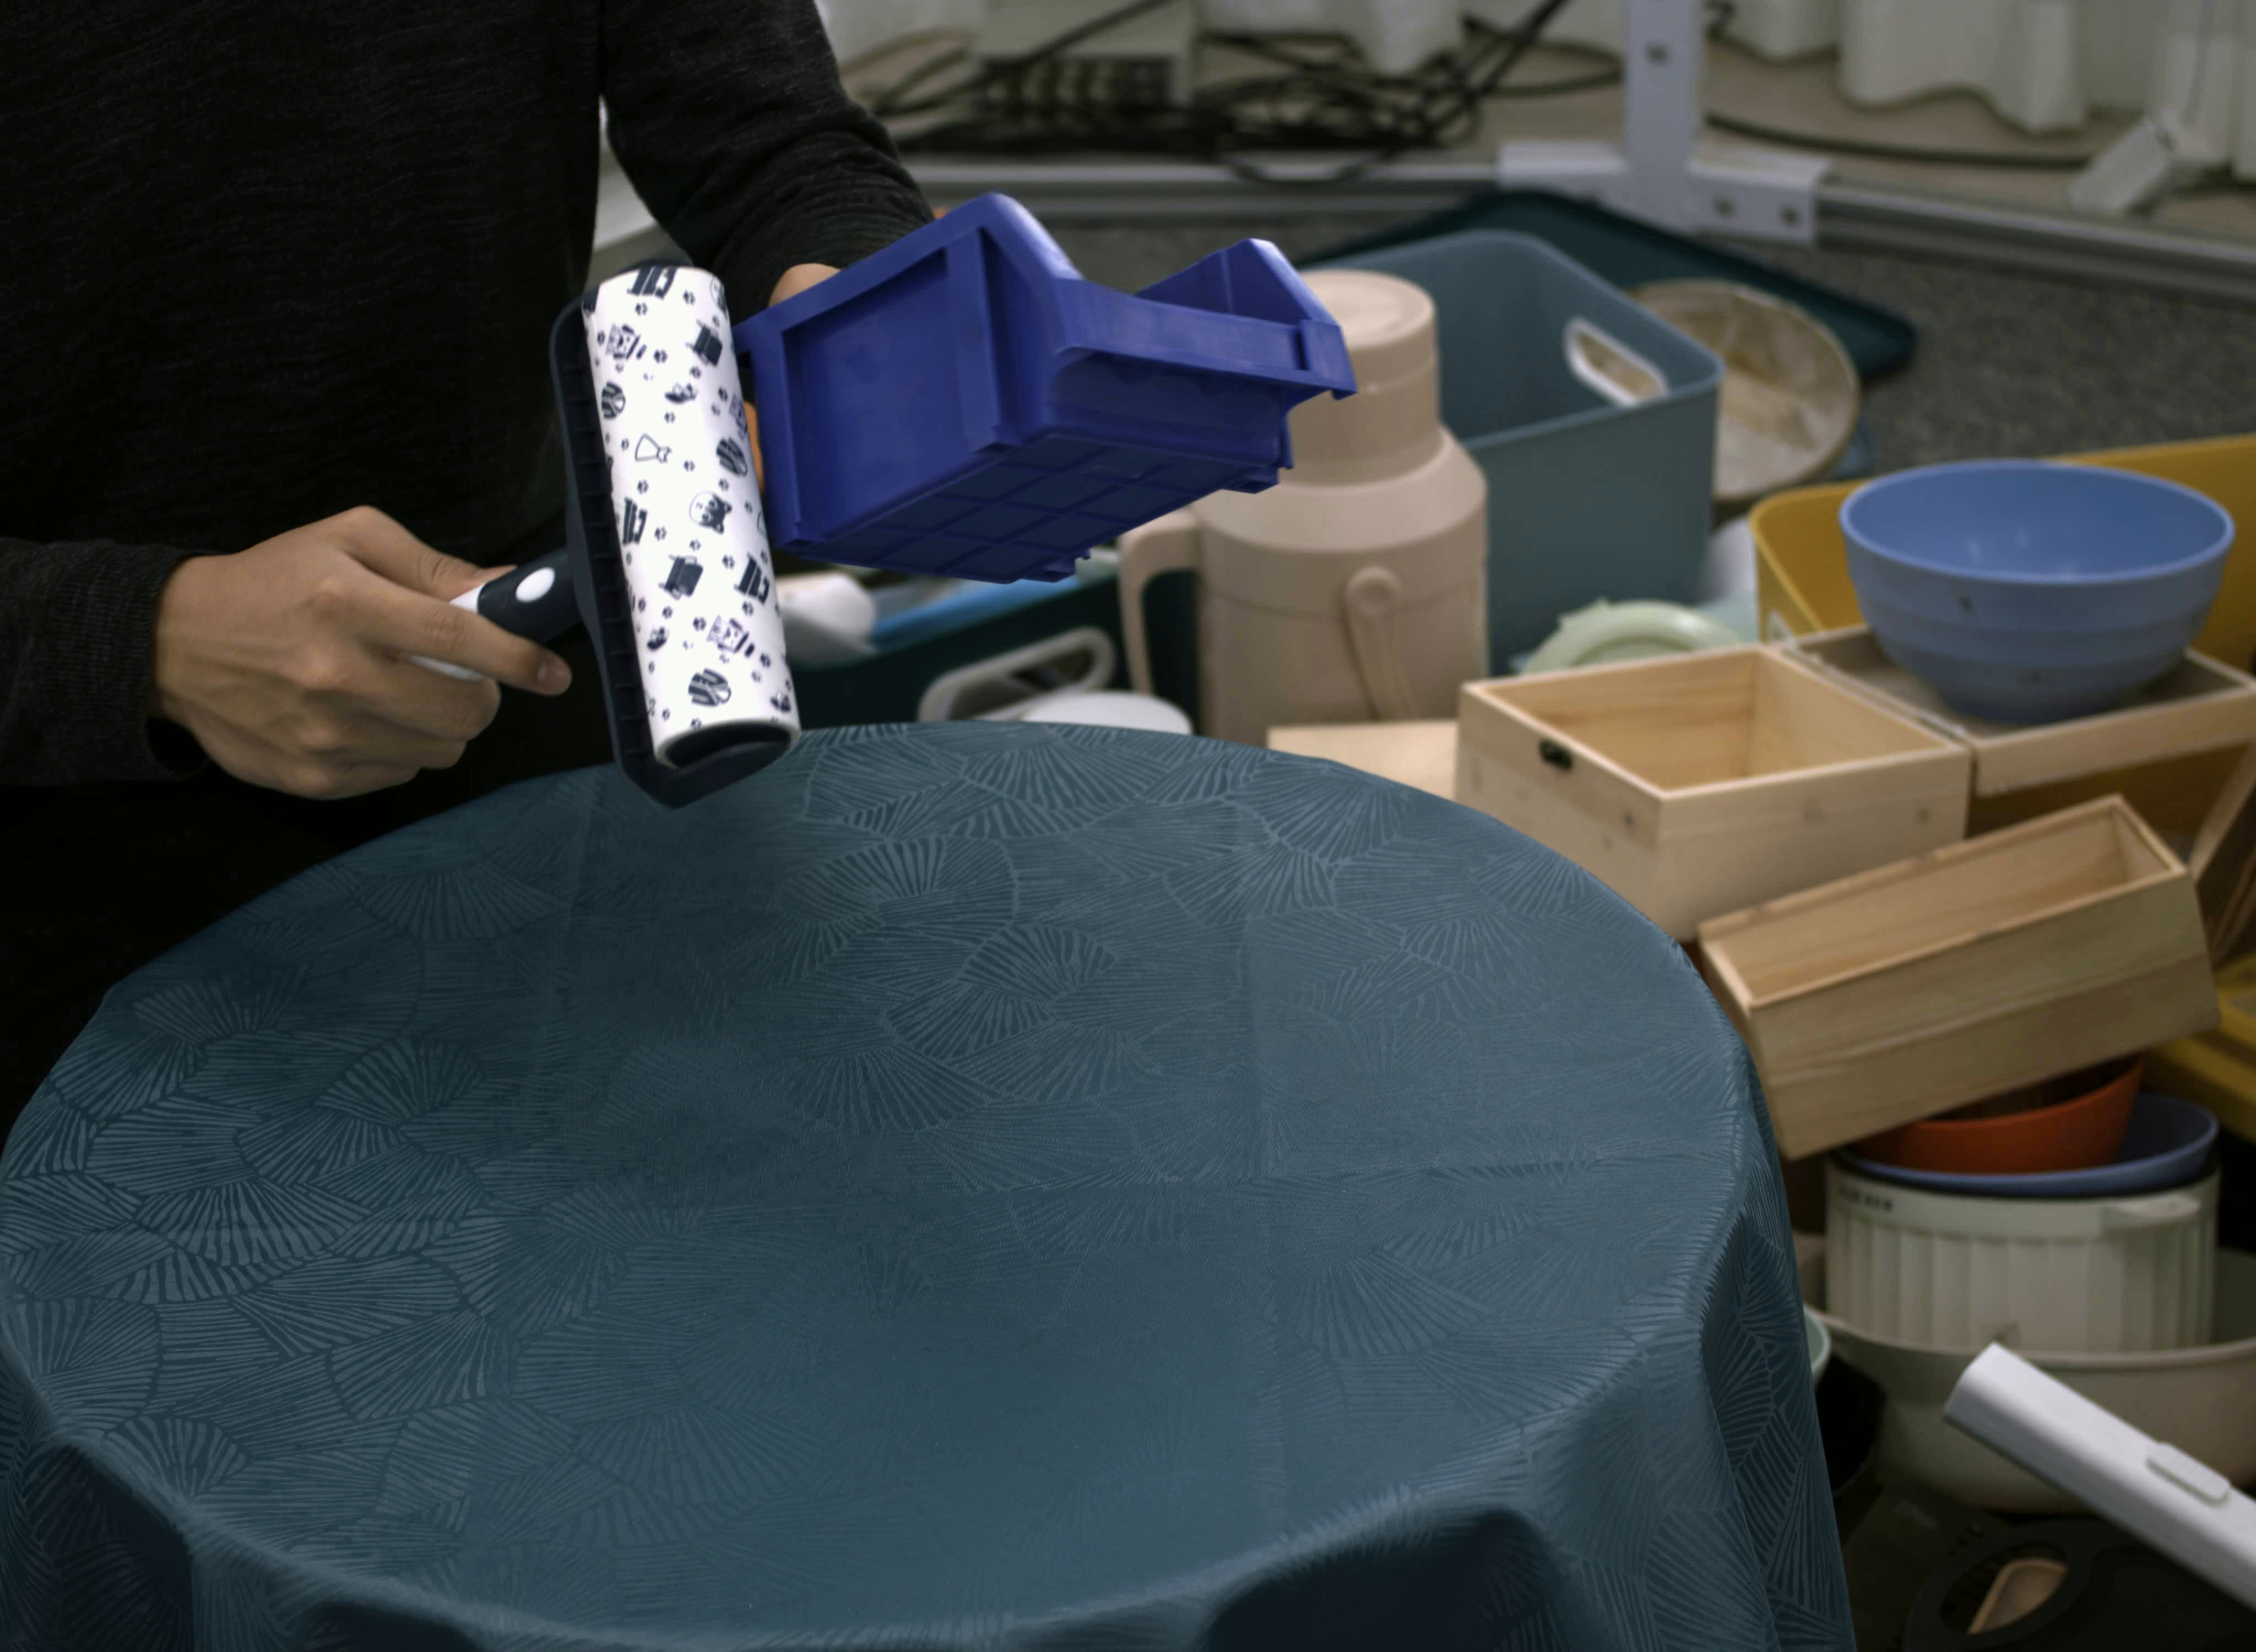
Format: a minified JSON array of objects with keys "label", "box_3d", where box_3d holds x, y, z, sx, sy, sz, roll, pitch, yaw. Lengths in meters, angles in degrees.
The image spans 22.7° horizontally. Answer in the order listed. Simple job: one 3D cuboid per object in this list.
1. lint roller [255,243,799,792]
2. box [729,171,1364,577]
[{"label":"lint roller","box_3d":[-0.215,-0.068,1.885,0.243,0.178,0.050,-26,-23,35]},{"label":"box","box_3d":[-0.026,-0.146,1.831,0.125,0.083,0.176,6,-22,-39]}]
